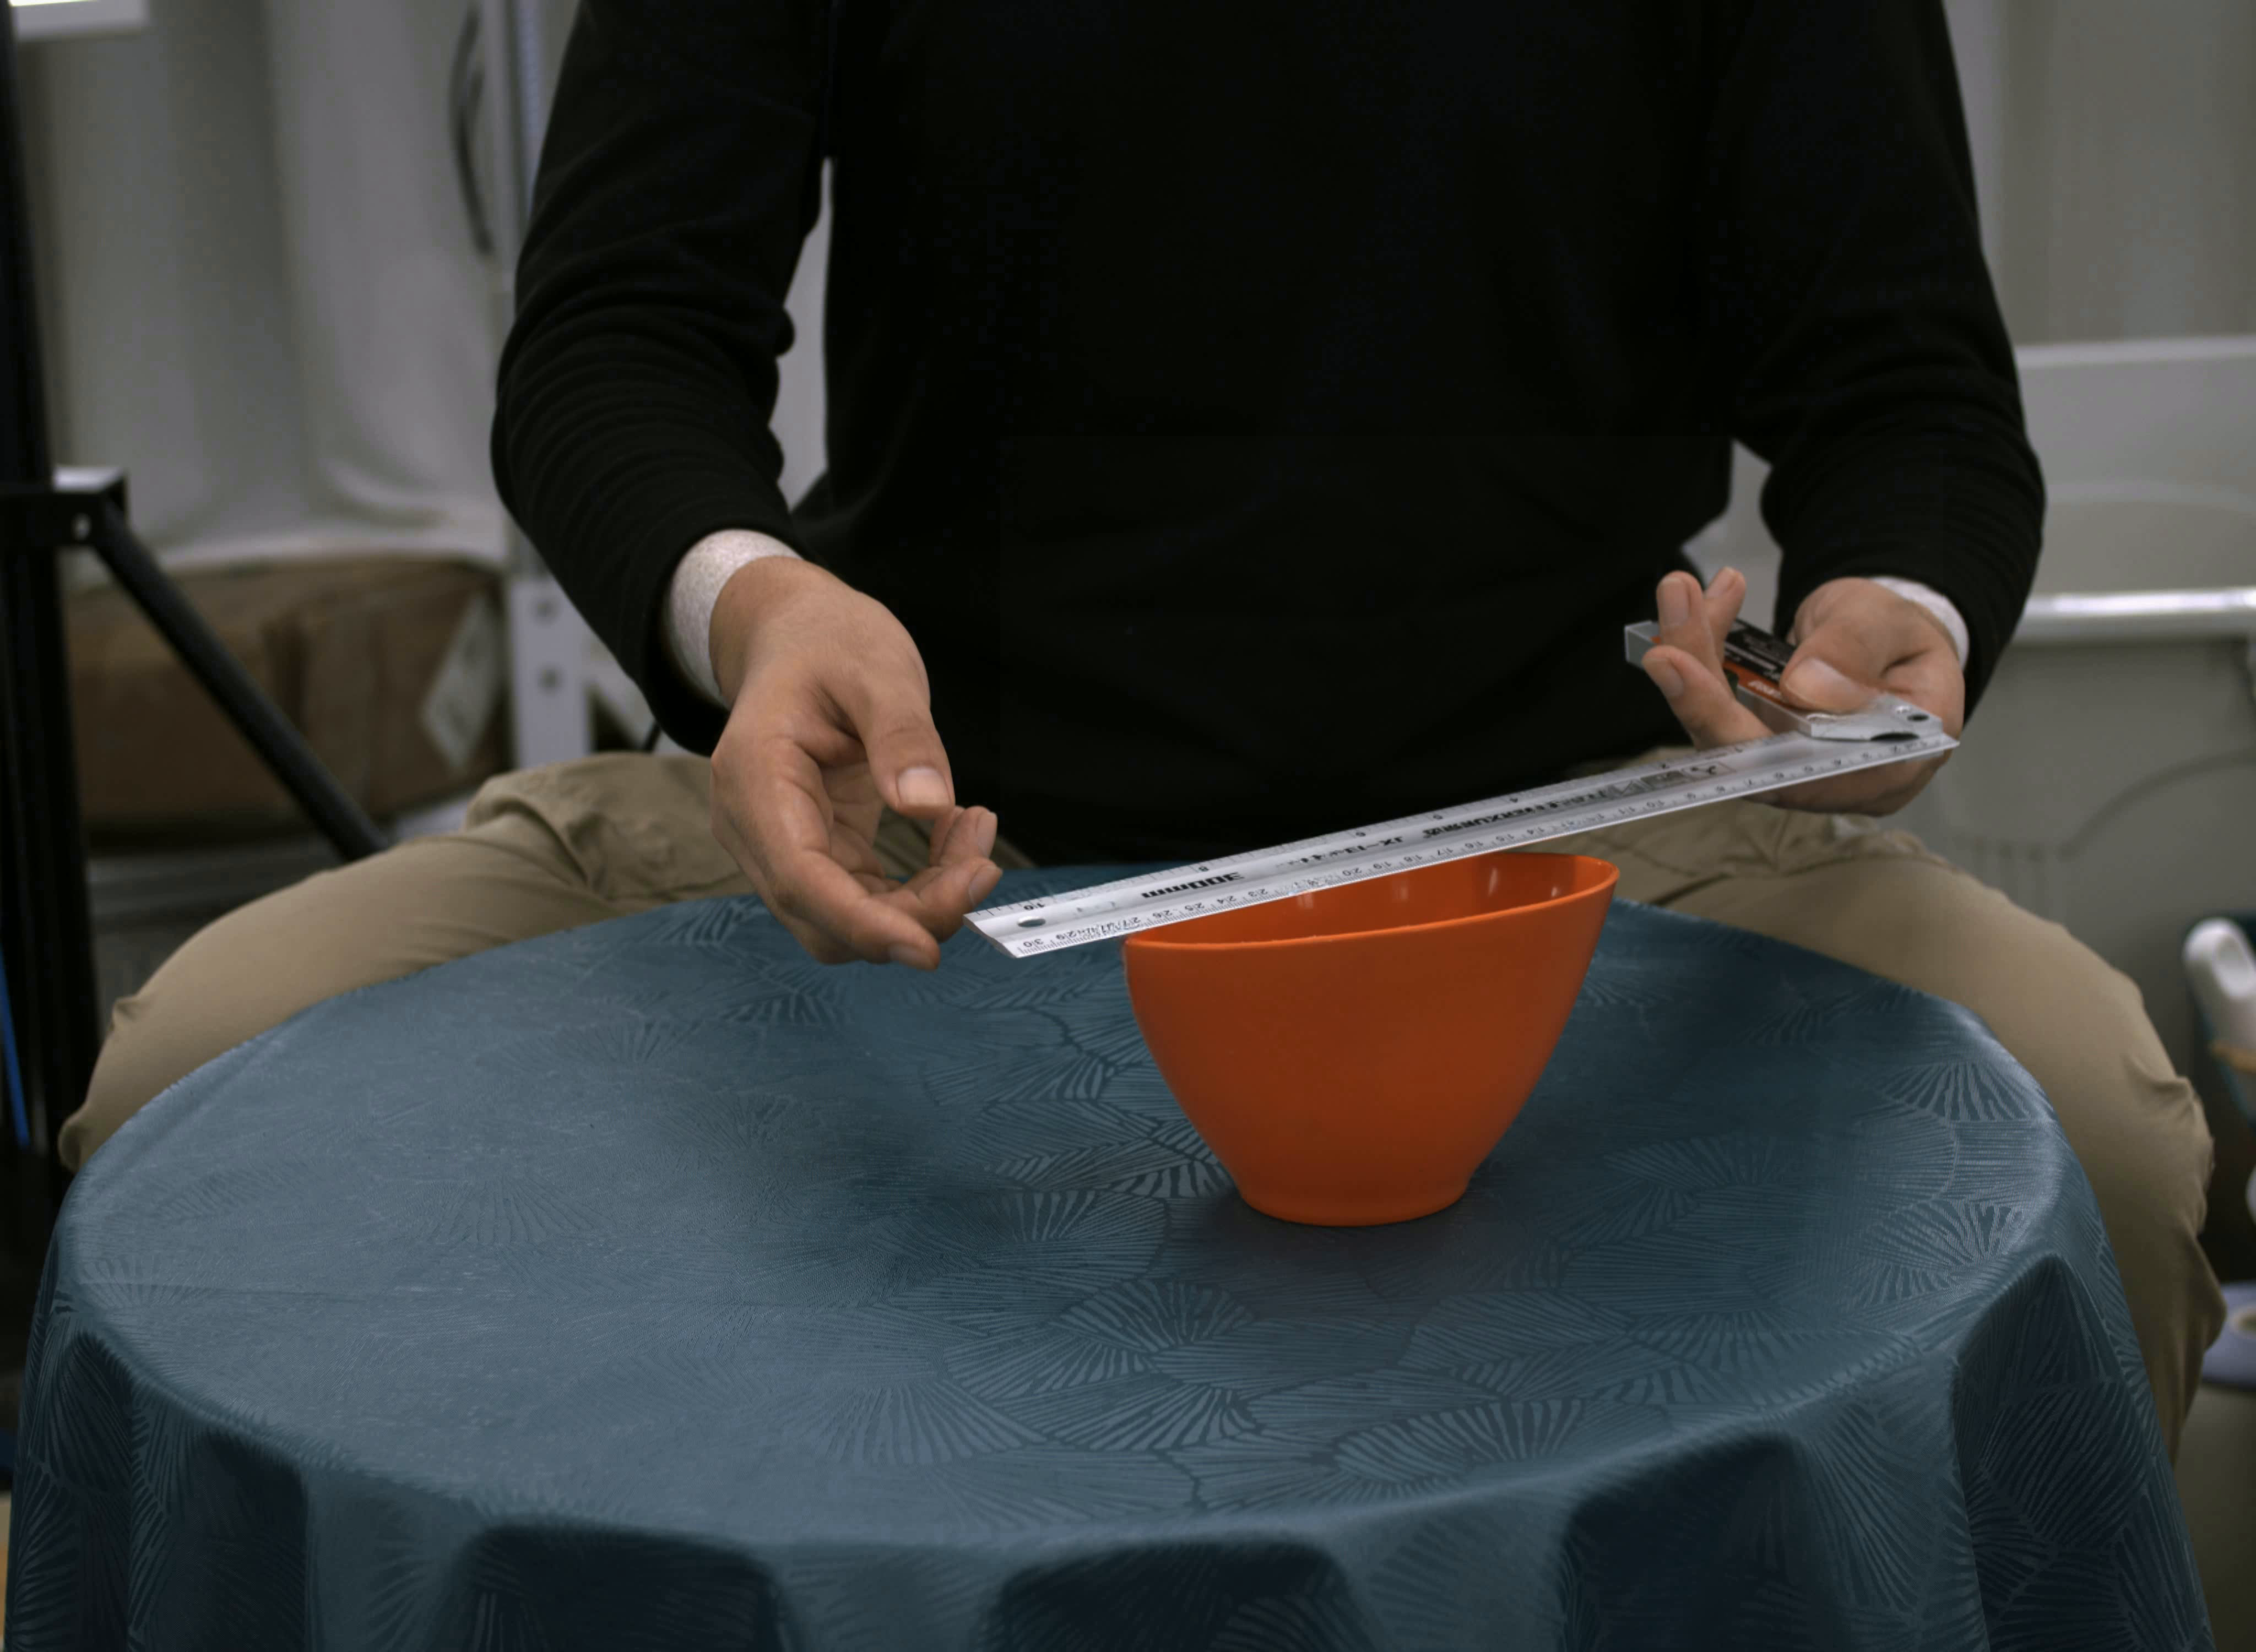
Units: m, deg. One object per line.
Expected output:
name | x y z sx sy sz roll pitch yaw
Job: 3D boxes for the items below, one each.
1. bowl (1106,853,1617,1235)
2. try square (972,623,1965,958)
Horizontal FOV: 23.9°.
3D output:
bowl | 0.069 0.062 1.527 0.147 0.104 0.149 -4 15 0
try square | 0.083 -0.012 1.605 0.307 0.016 0.155 -13 18 -19
